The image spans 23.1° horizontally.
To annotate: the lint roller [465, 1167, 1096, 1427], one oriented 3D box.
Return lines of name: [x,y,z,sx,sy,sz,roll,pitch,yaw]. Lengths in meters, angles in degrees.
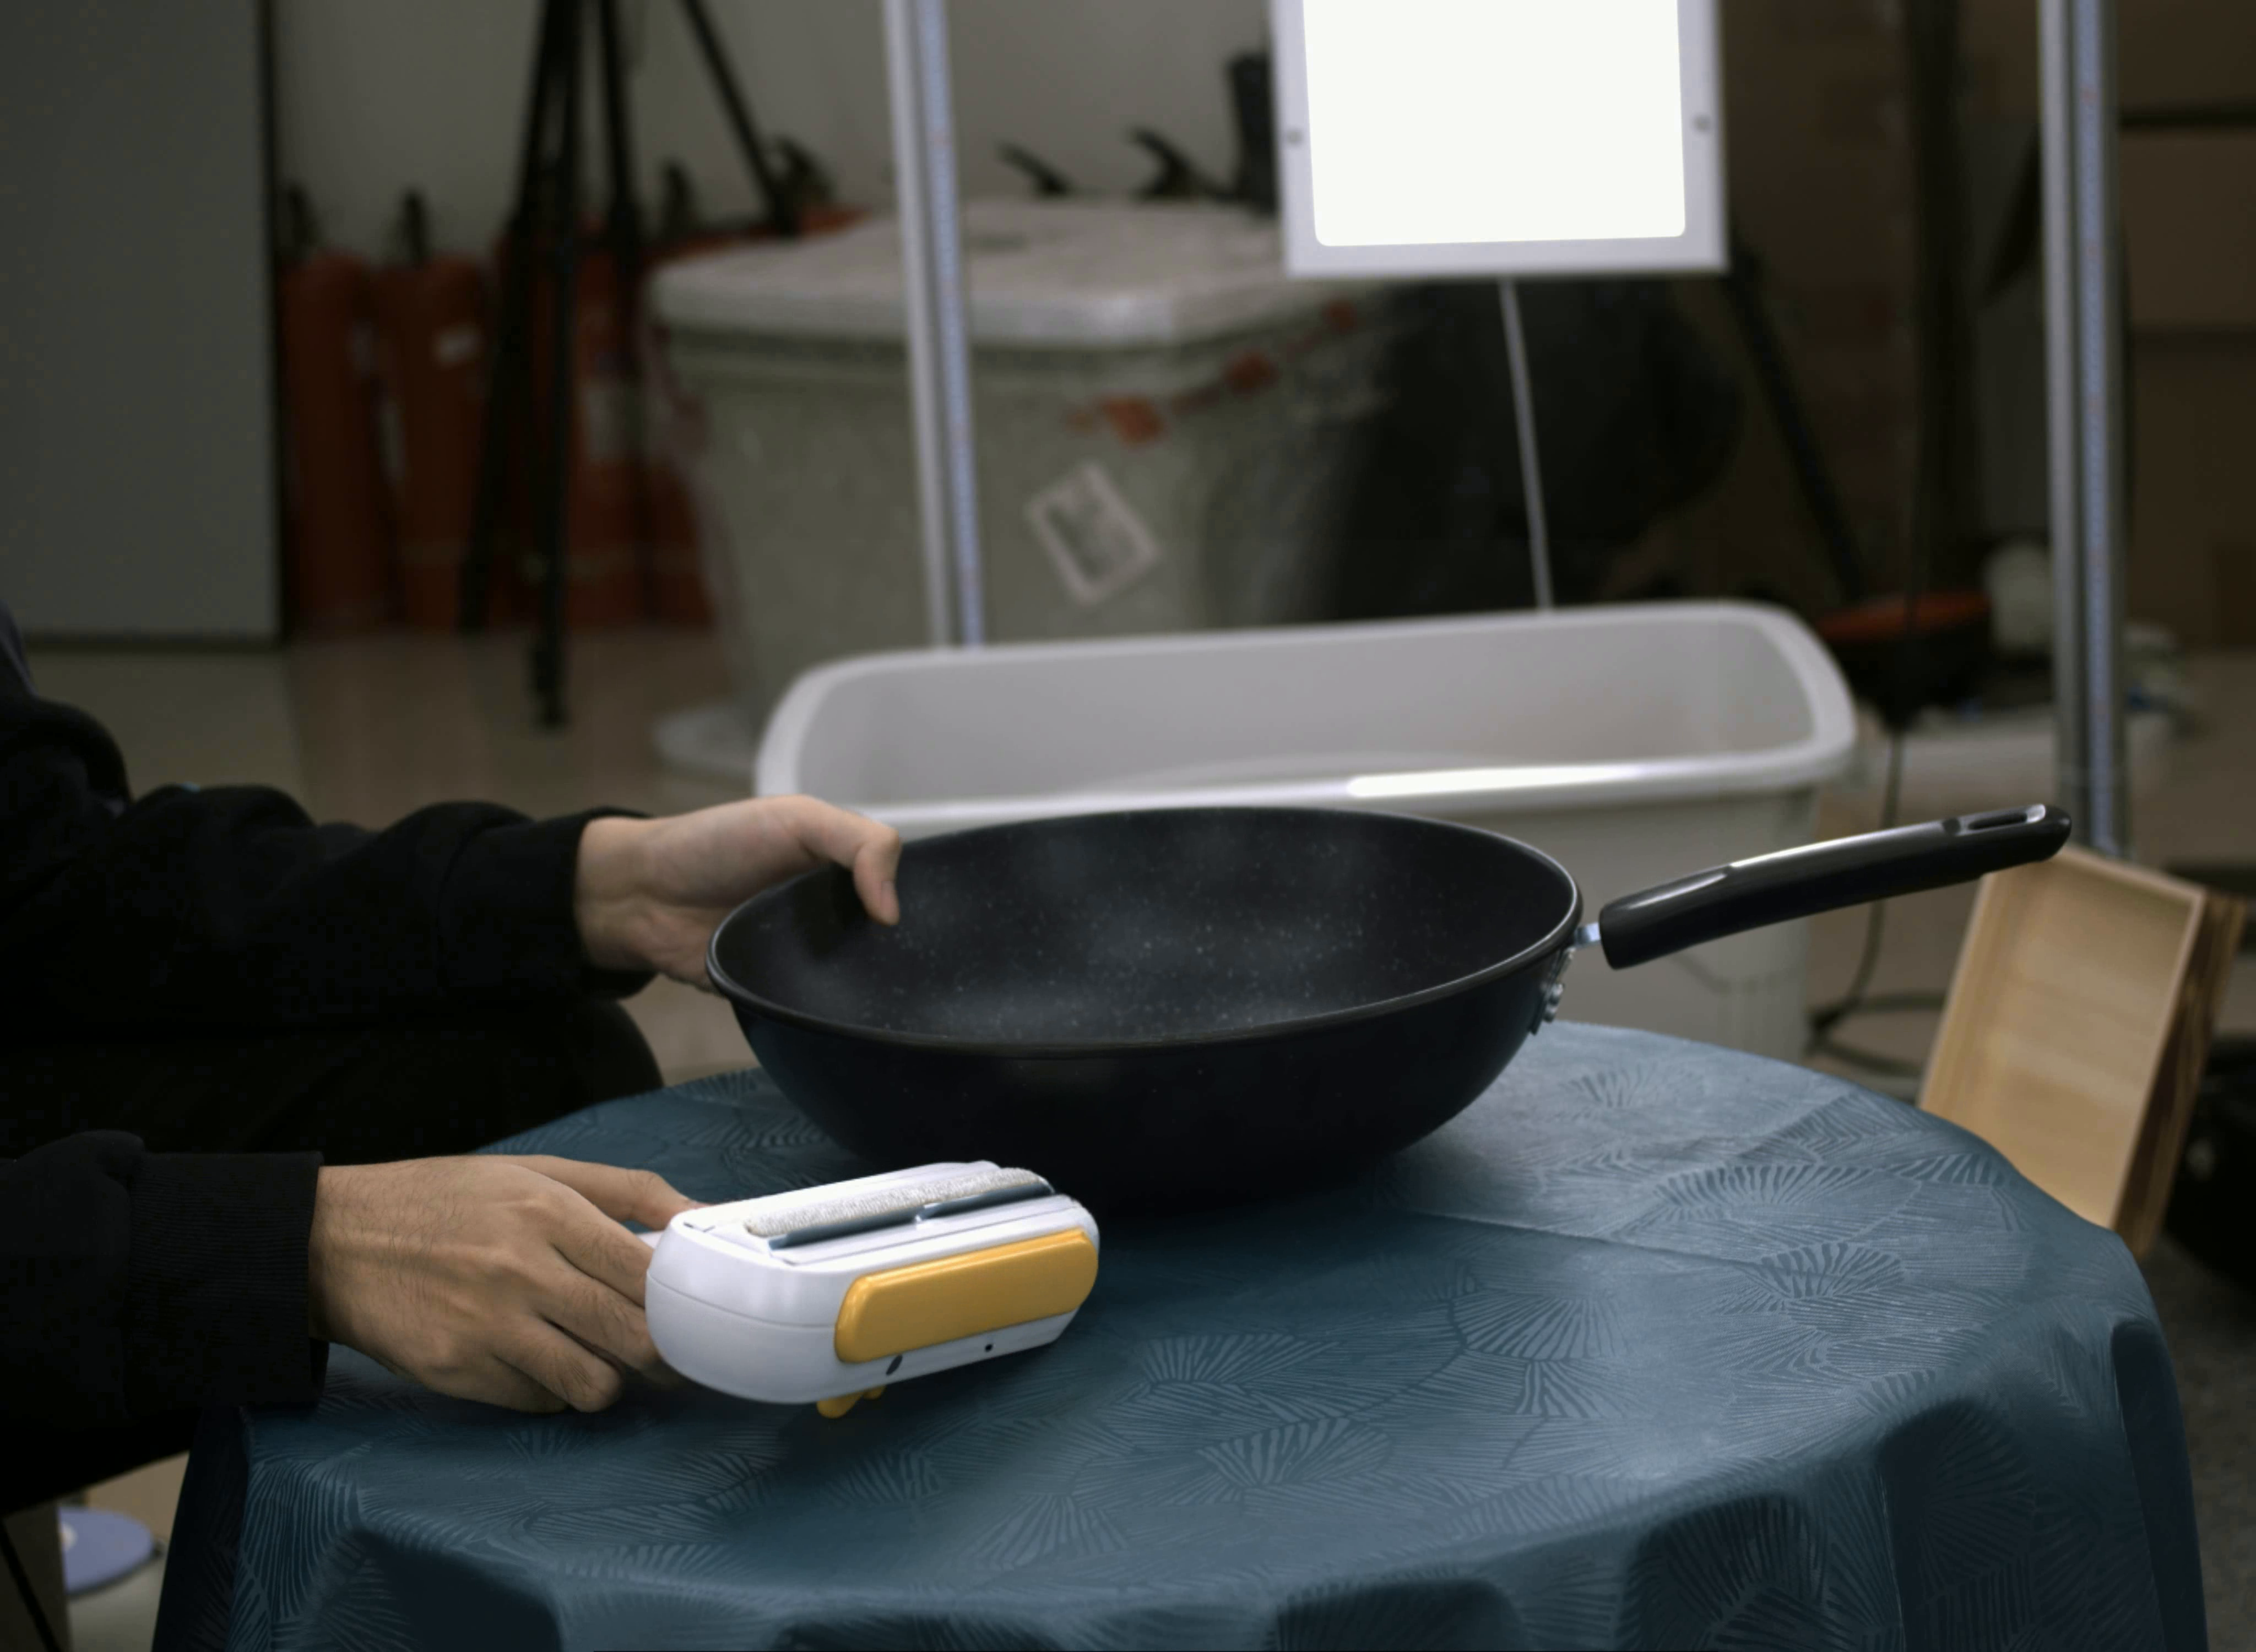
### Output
lint roller: [-0.129,0.140,1.728,0.196,0.074,0.188,9,13,35]

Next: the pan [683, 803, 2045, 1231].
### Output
pan: [0.083,0.059,1.914,0.480,0.112,0.307,-3,16,11]
